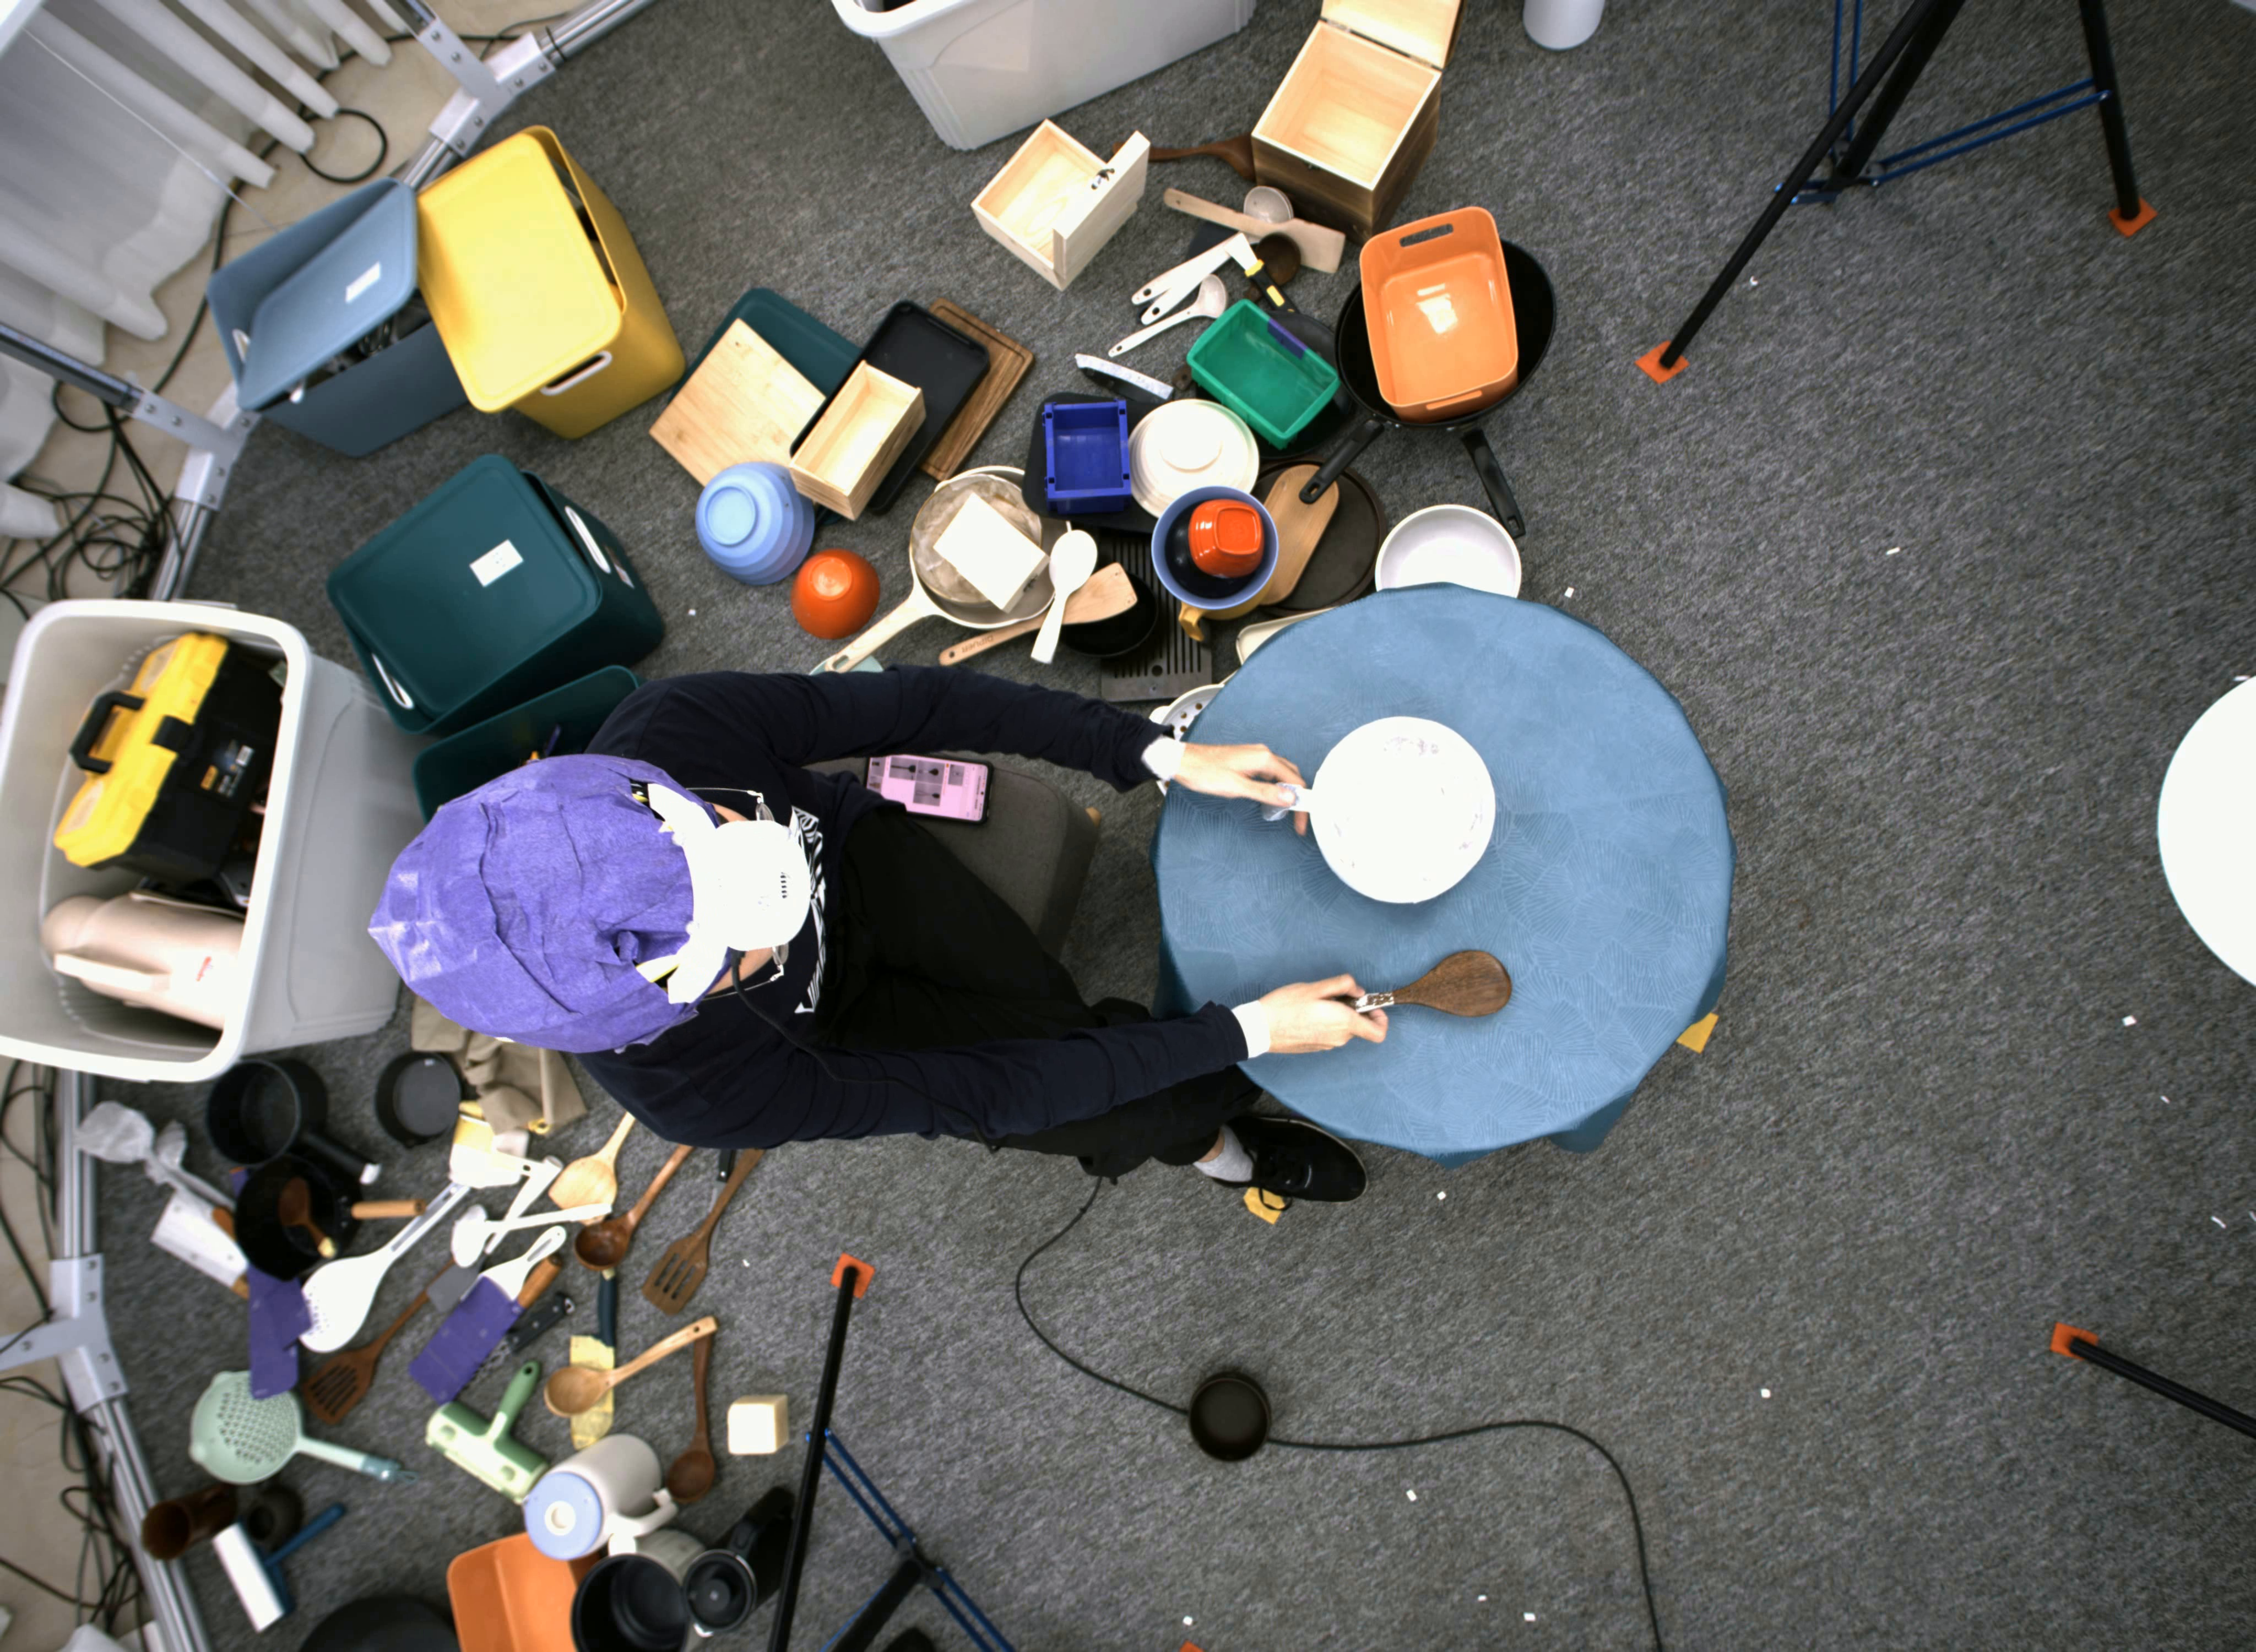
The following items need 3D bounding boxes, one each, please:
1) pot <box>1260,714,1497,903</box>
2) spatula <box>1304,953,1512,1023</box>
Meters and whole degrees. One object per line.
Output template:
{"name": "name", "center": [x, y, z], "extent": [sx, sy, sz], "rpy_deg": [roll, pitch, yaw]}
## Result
{"name": "pot", "center": [0.248, -0.016, 1.398], "extent": [0.234, 0.137, 0.177], "rpy_deg": [5, 84, 9]}
{"name": "spatula", "center": [0.288, 0.174, 1.426], "extent": [0.216, 0.009, 0.070], "rpy_deg": [-11, 57, 4]}
